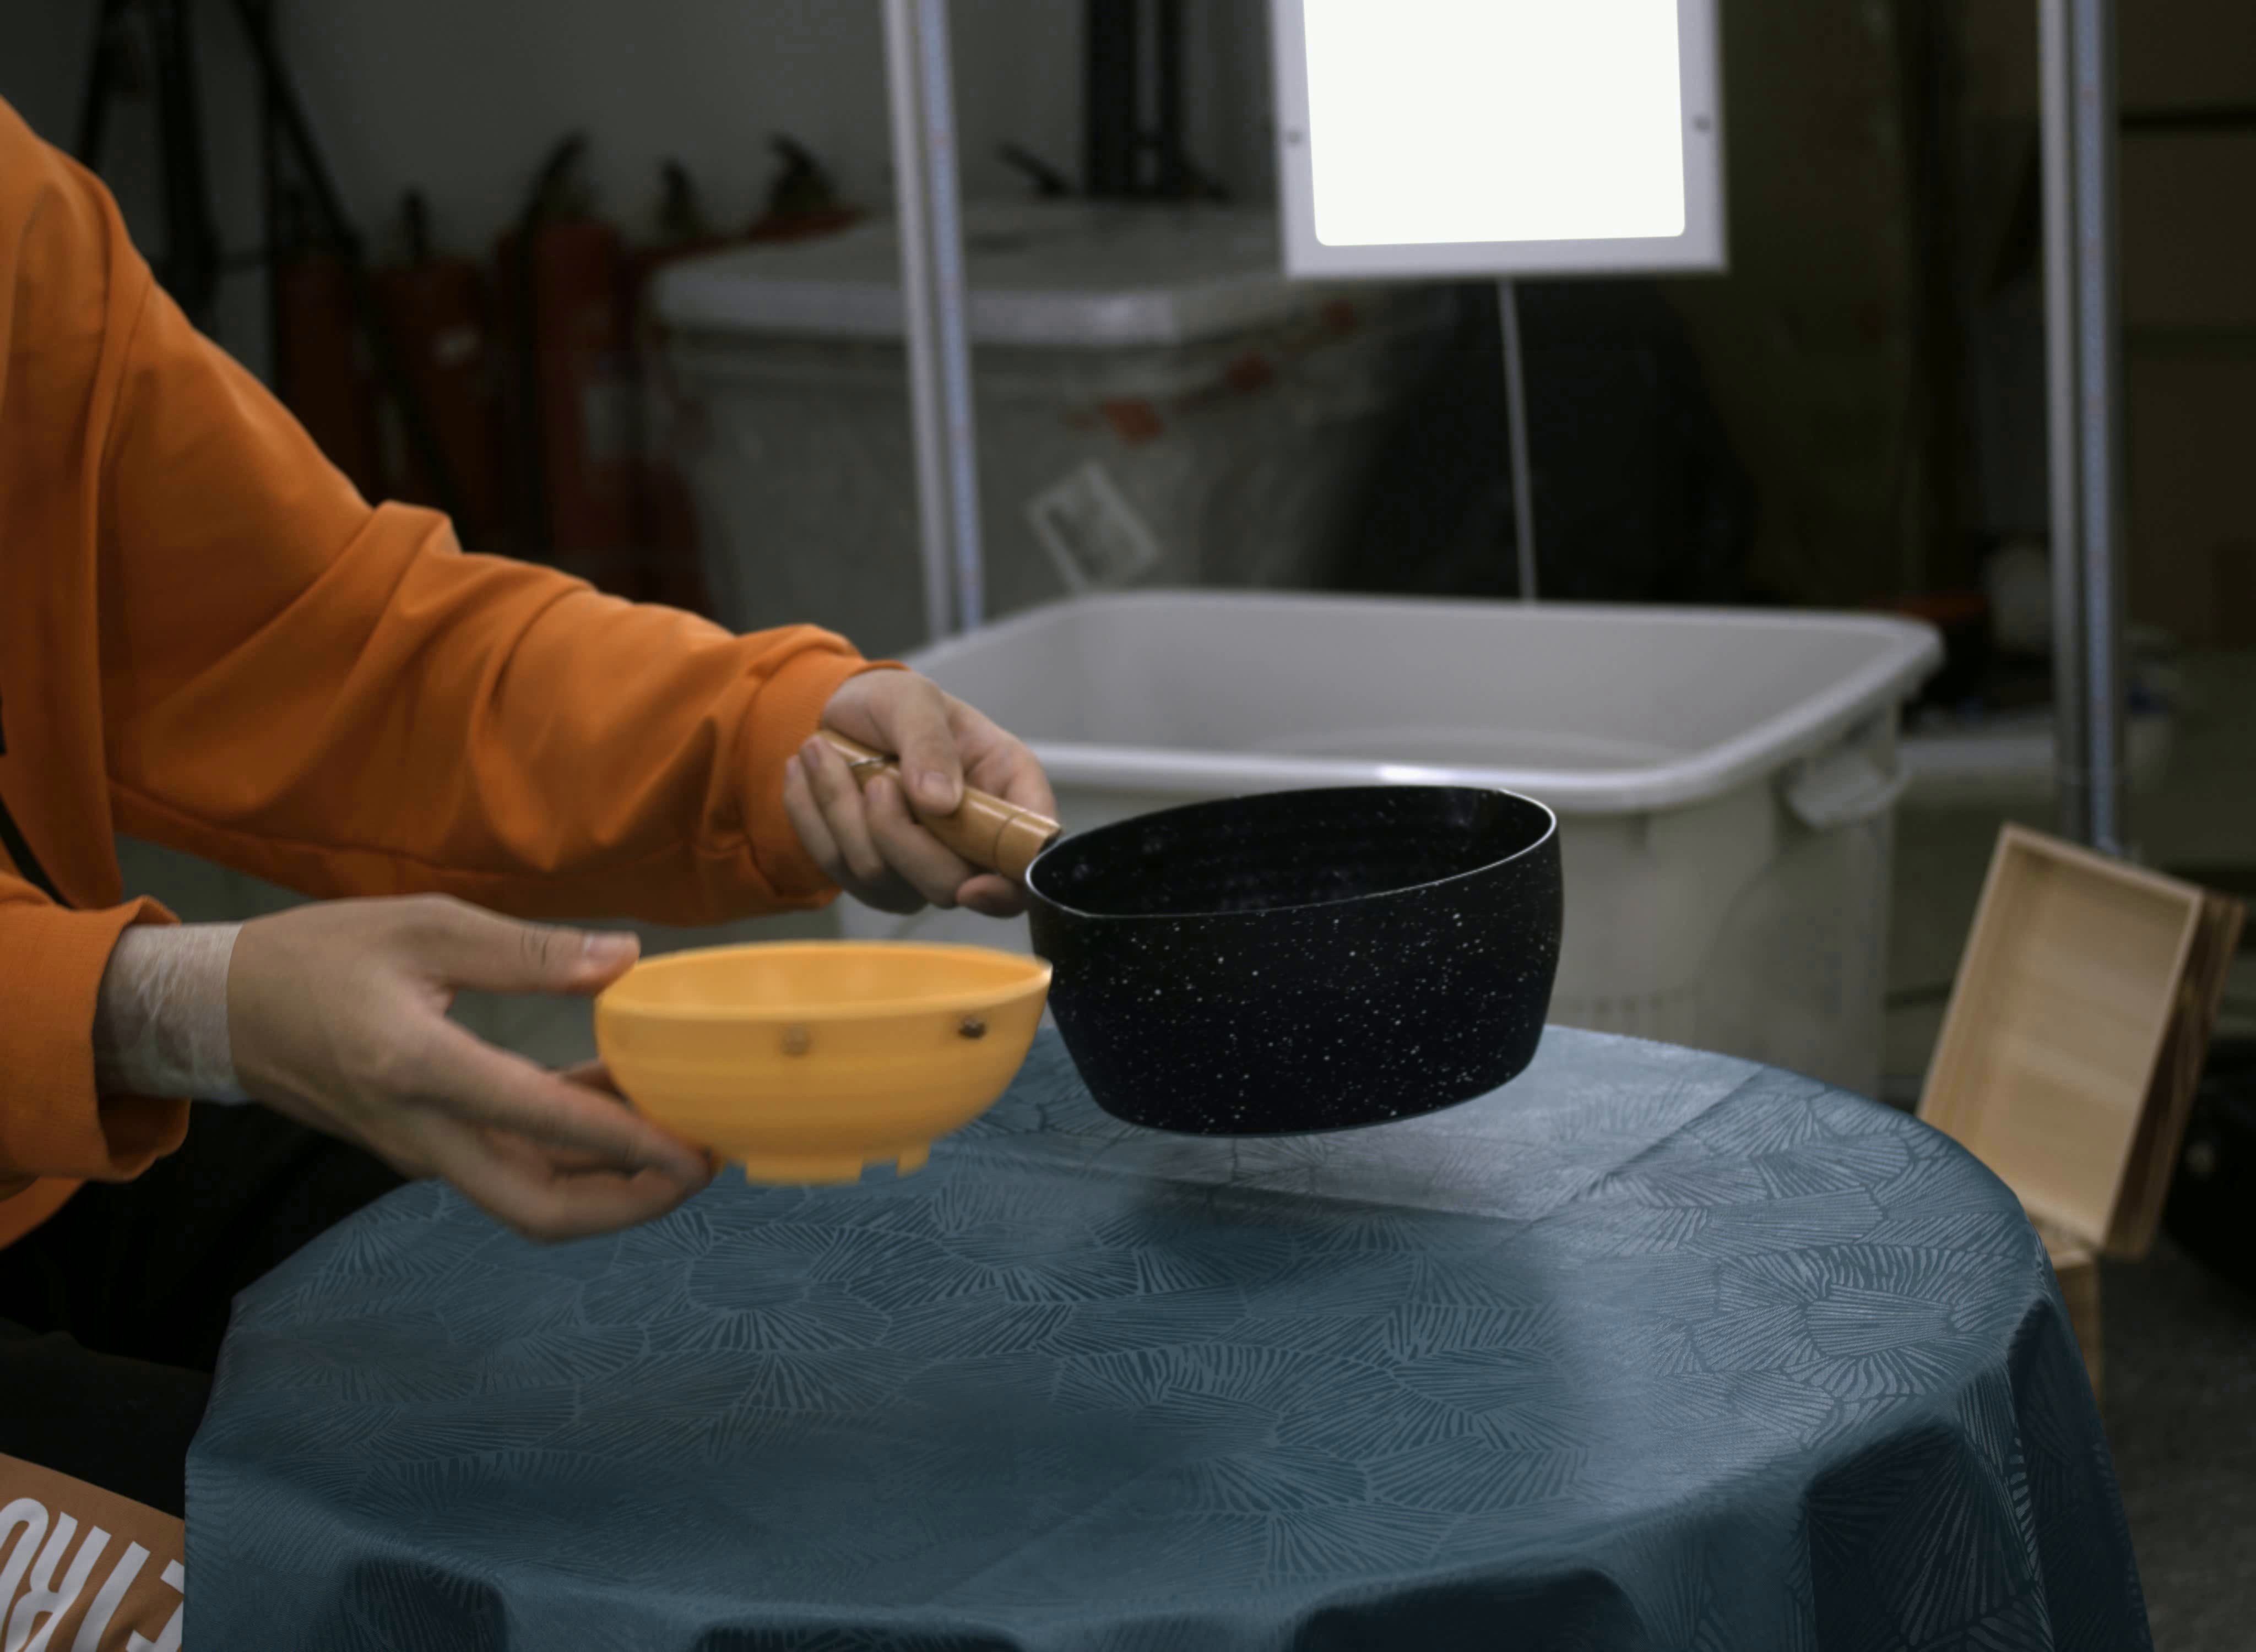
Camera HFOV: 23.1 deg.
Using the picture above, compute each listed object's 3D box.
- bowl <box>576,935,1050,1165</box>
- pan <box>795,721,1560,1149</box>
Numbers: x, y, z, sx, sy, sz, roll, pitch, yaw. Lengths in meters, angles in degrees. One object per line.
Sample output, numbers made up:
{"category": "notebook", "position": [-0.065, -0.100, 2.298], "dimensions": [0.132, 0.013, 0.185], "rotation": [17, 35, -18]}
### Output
{"category": "bowl", "position": [-0.095, 0.069, 1.677], "dimensions": [0.145, 0.060, 0.145], "rotation": [-2, 5, -1]}
{"category": "pan", "position": [0.002, 0.030, 1.936], "dimensions": [0.202, 0.108, 0.350], "rotation": [-19, 18, -40]}
